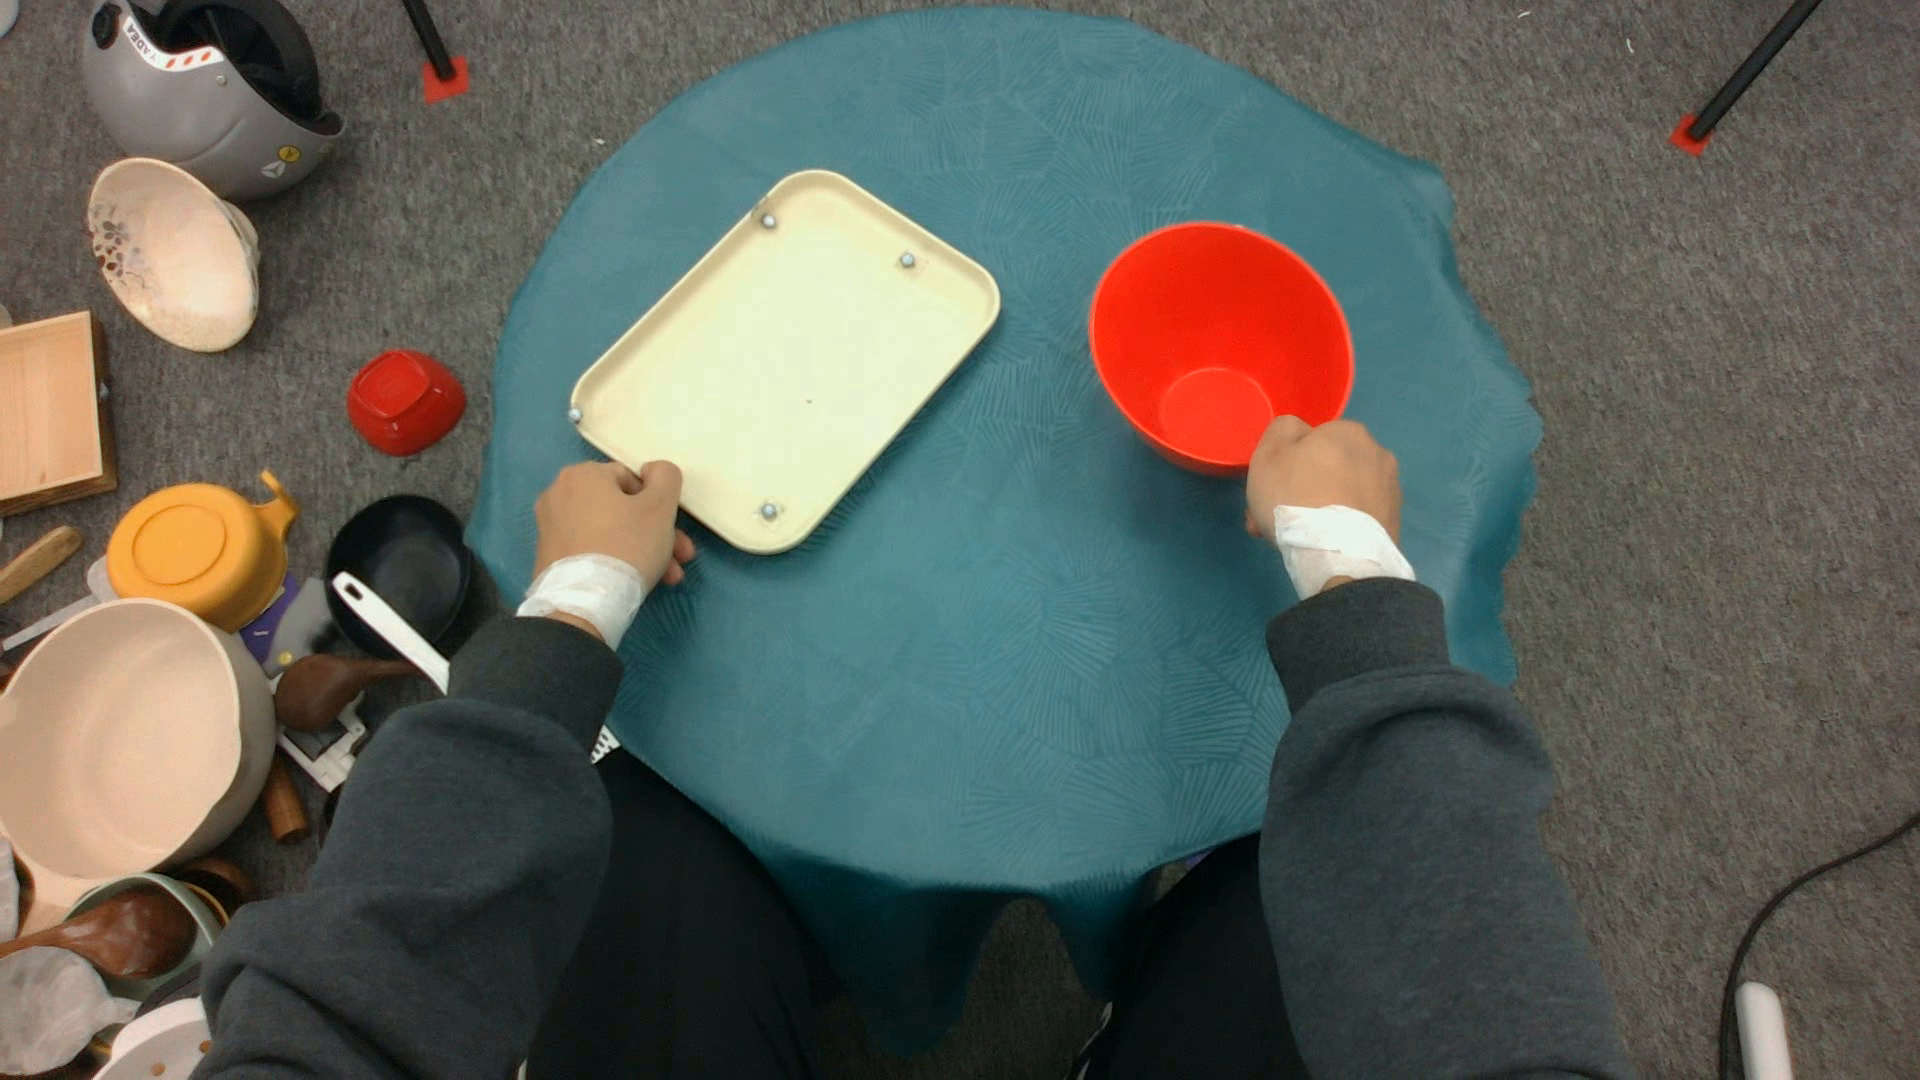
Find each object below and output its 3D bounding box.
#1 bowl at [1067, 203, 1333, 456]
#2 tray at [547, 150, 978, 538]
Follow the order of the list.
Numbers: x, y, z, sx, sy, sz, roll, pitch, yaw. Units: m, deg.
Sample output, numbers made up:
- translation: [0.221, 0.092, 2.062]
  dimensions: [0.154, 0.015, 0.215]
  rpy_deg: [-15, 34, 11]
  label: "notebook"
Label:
- translation: [0.133, -0.106, 0.788]
  dimensions: [0.148, 0.104, 0.148]
  rpy_deg: [0, 67, 1]
  label: "bowl"
- translation: [-0.115, -0.123, 0.828]
  dimensions: [0.171, 0.017, 0.240]
  rpy_deg: [35, 69, 11]
  label: "tray"
